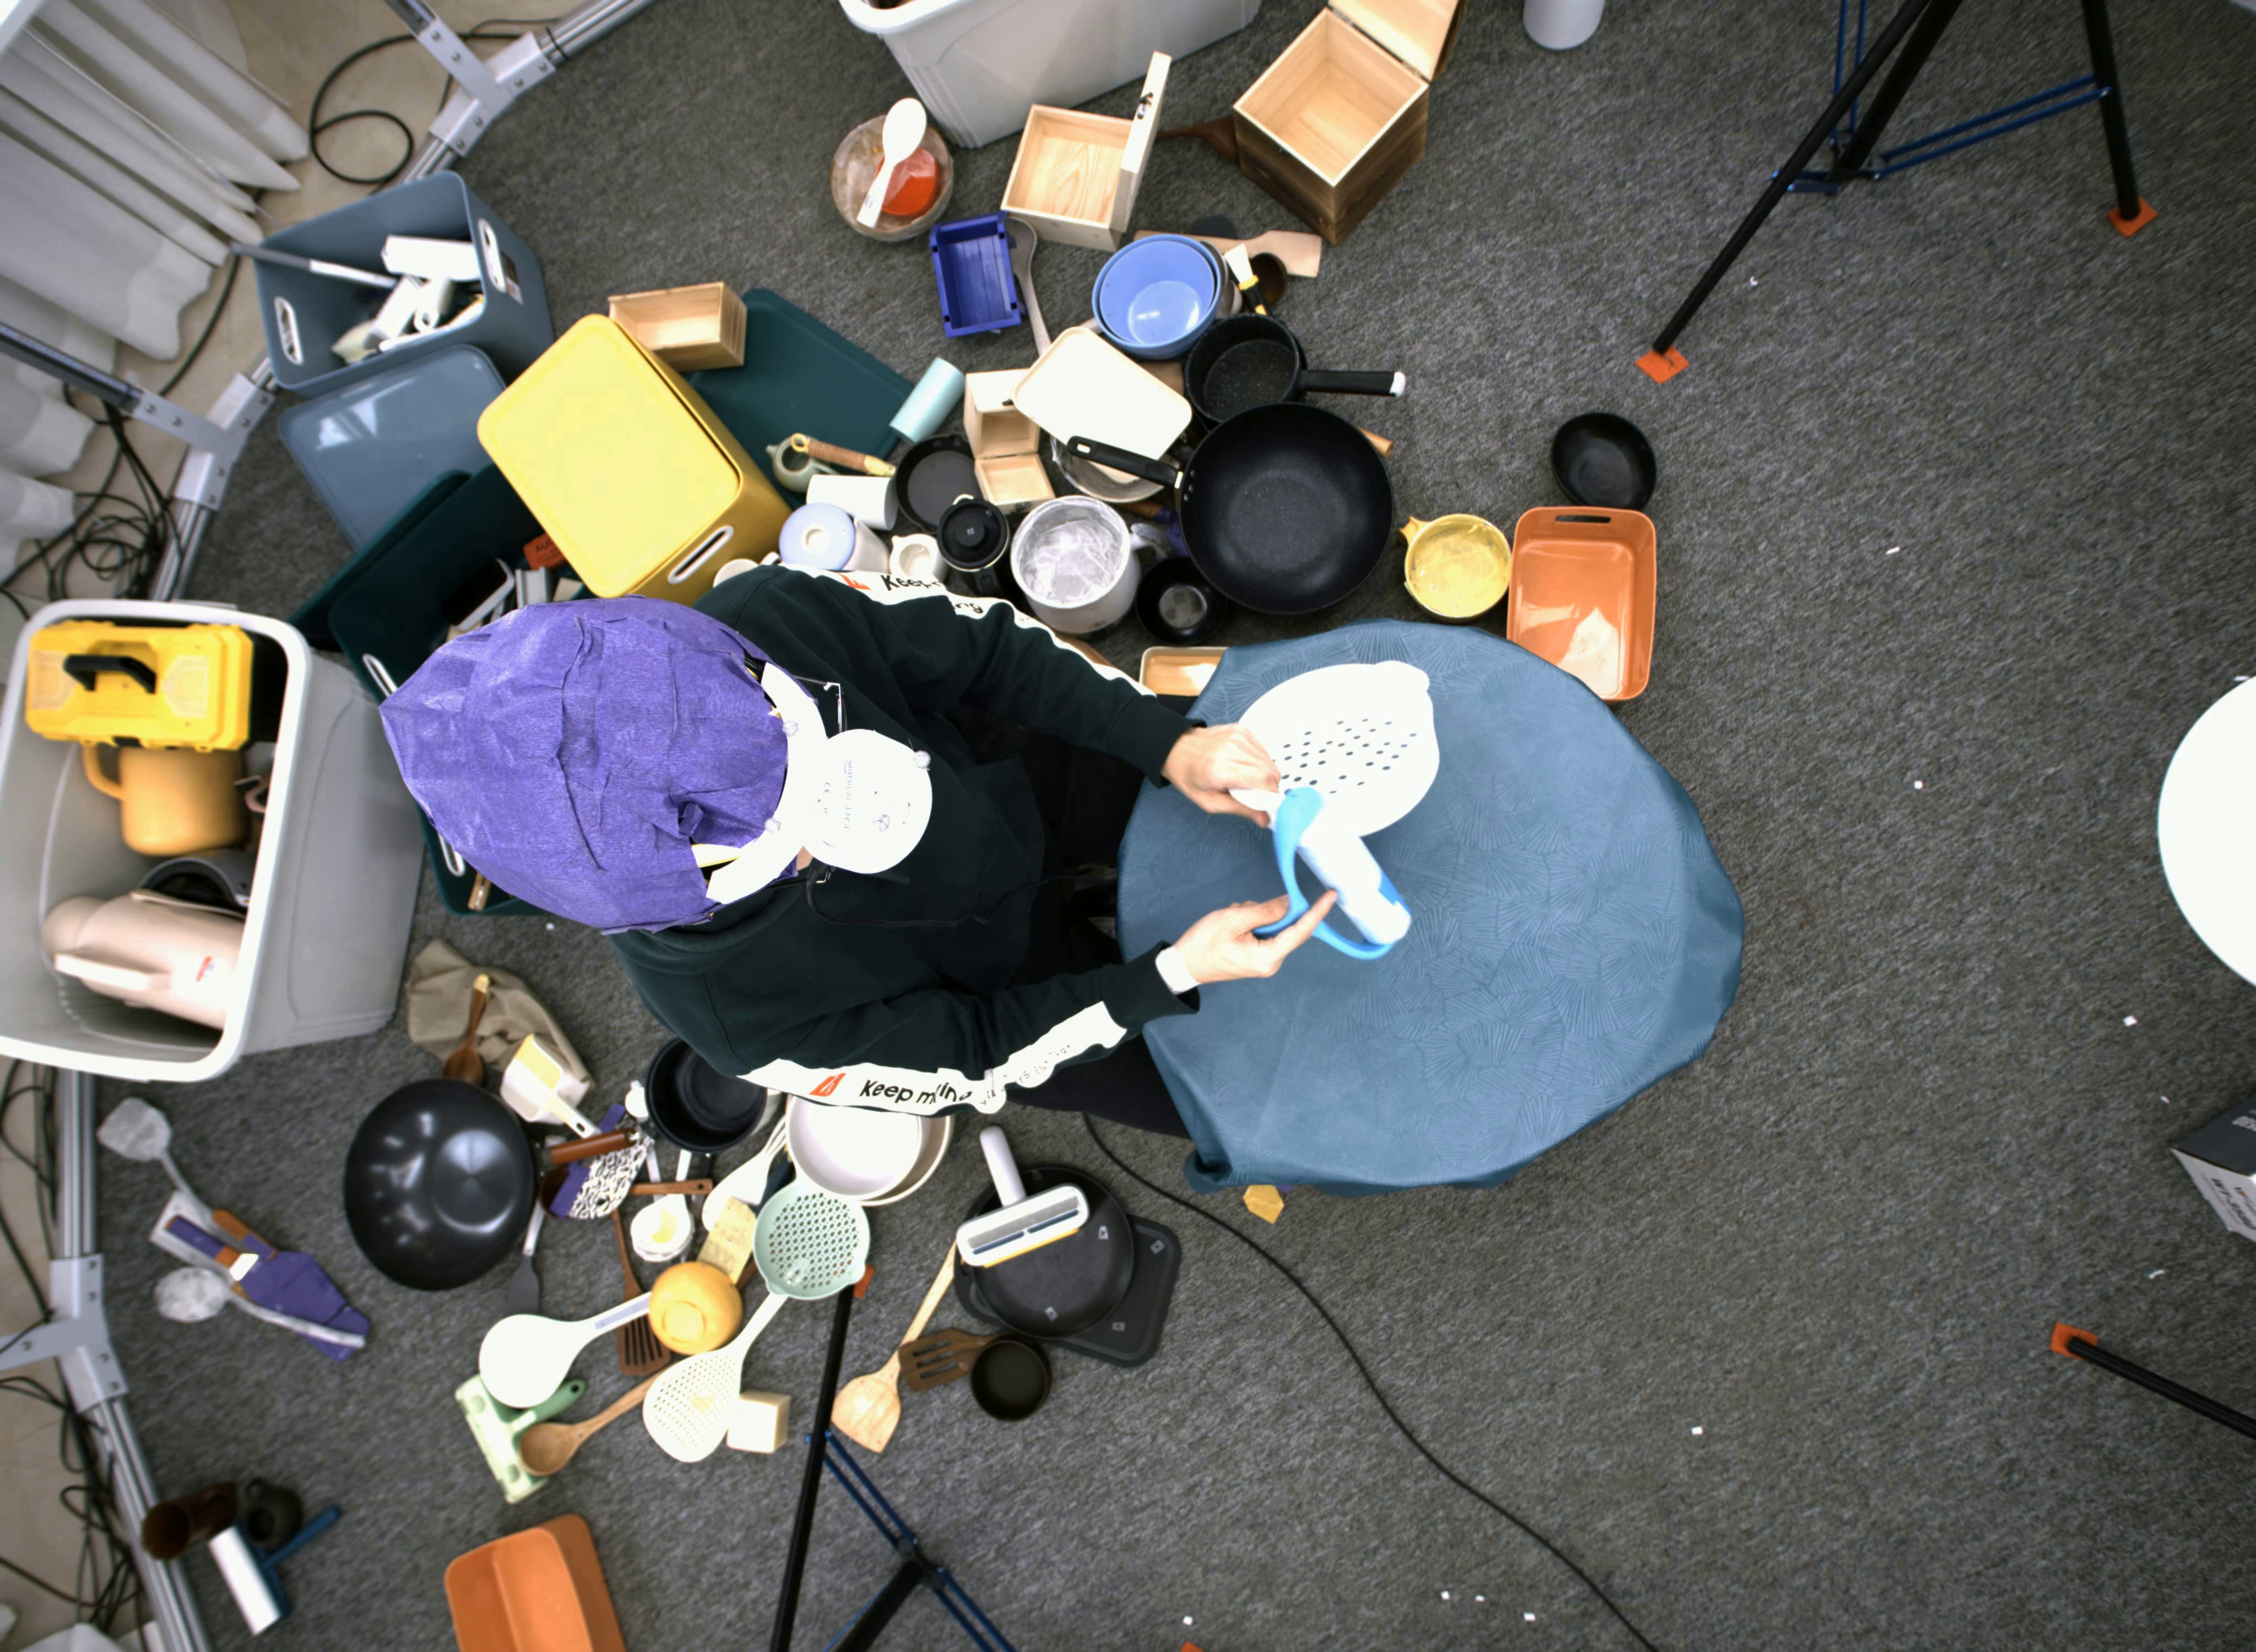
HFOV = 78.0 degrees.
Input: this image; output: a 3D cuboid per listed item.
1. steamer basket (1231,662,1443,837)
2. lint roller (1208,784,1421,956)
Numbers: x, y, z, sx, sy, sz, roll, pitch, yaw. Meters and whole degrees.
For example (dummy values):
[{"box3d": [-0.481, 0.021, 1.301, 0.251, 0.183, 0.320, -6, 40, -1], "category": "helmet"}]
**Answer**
[{"box3d": [0.205, -0.070, 1.335, 0.228, 0.070, 0.200, -38, 40, -13], "category": "steamer basket"}, {"box3d": [0.160, 0.068, 1.288, 0.182, 0.231, 0.066, -33, 44, 16], "category": "lint roller"}]
